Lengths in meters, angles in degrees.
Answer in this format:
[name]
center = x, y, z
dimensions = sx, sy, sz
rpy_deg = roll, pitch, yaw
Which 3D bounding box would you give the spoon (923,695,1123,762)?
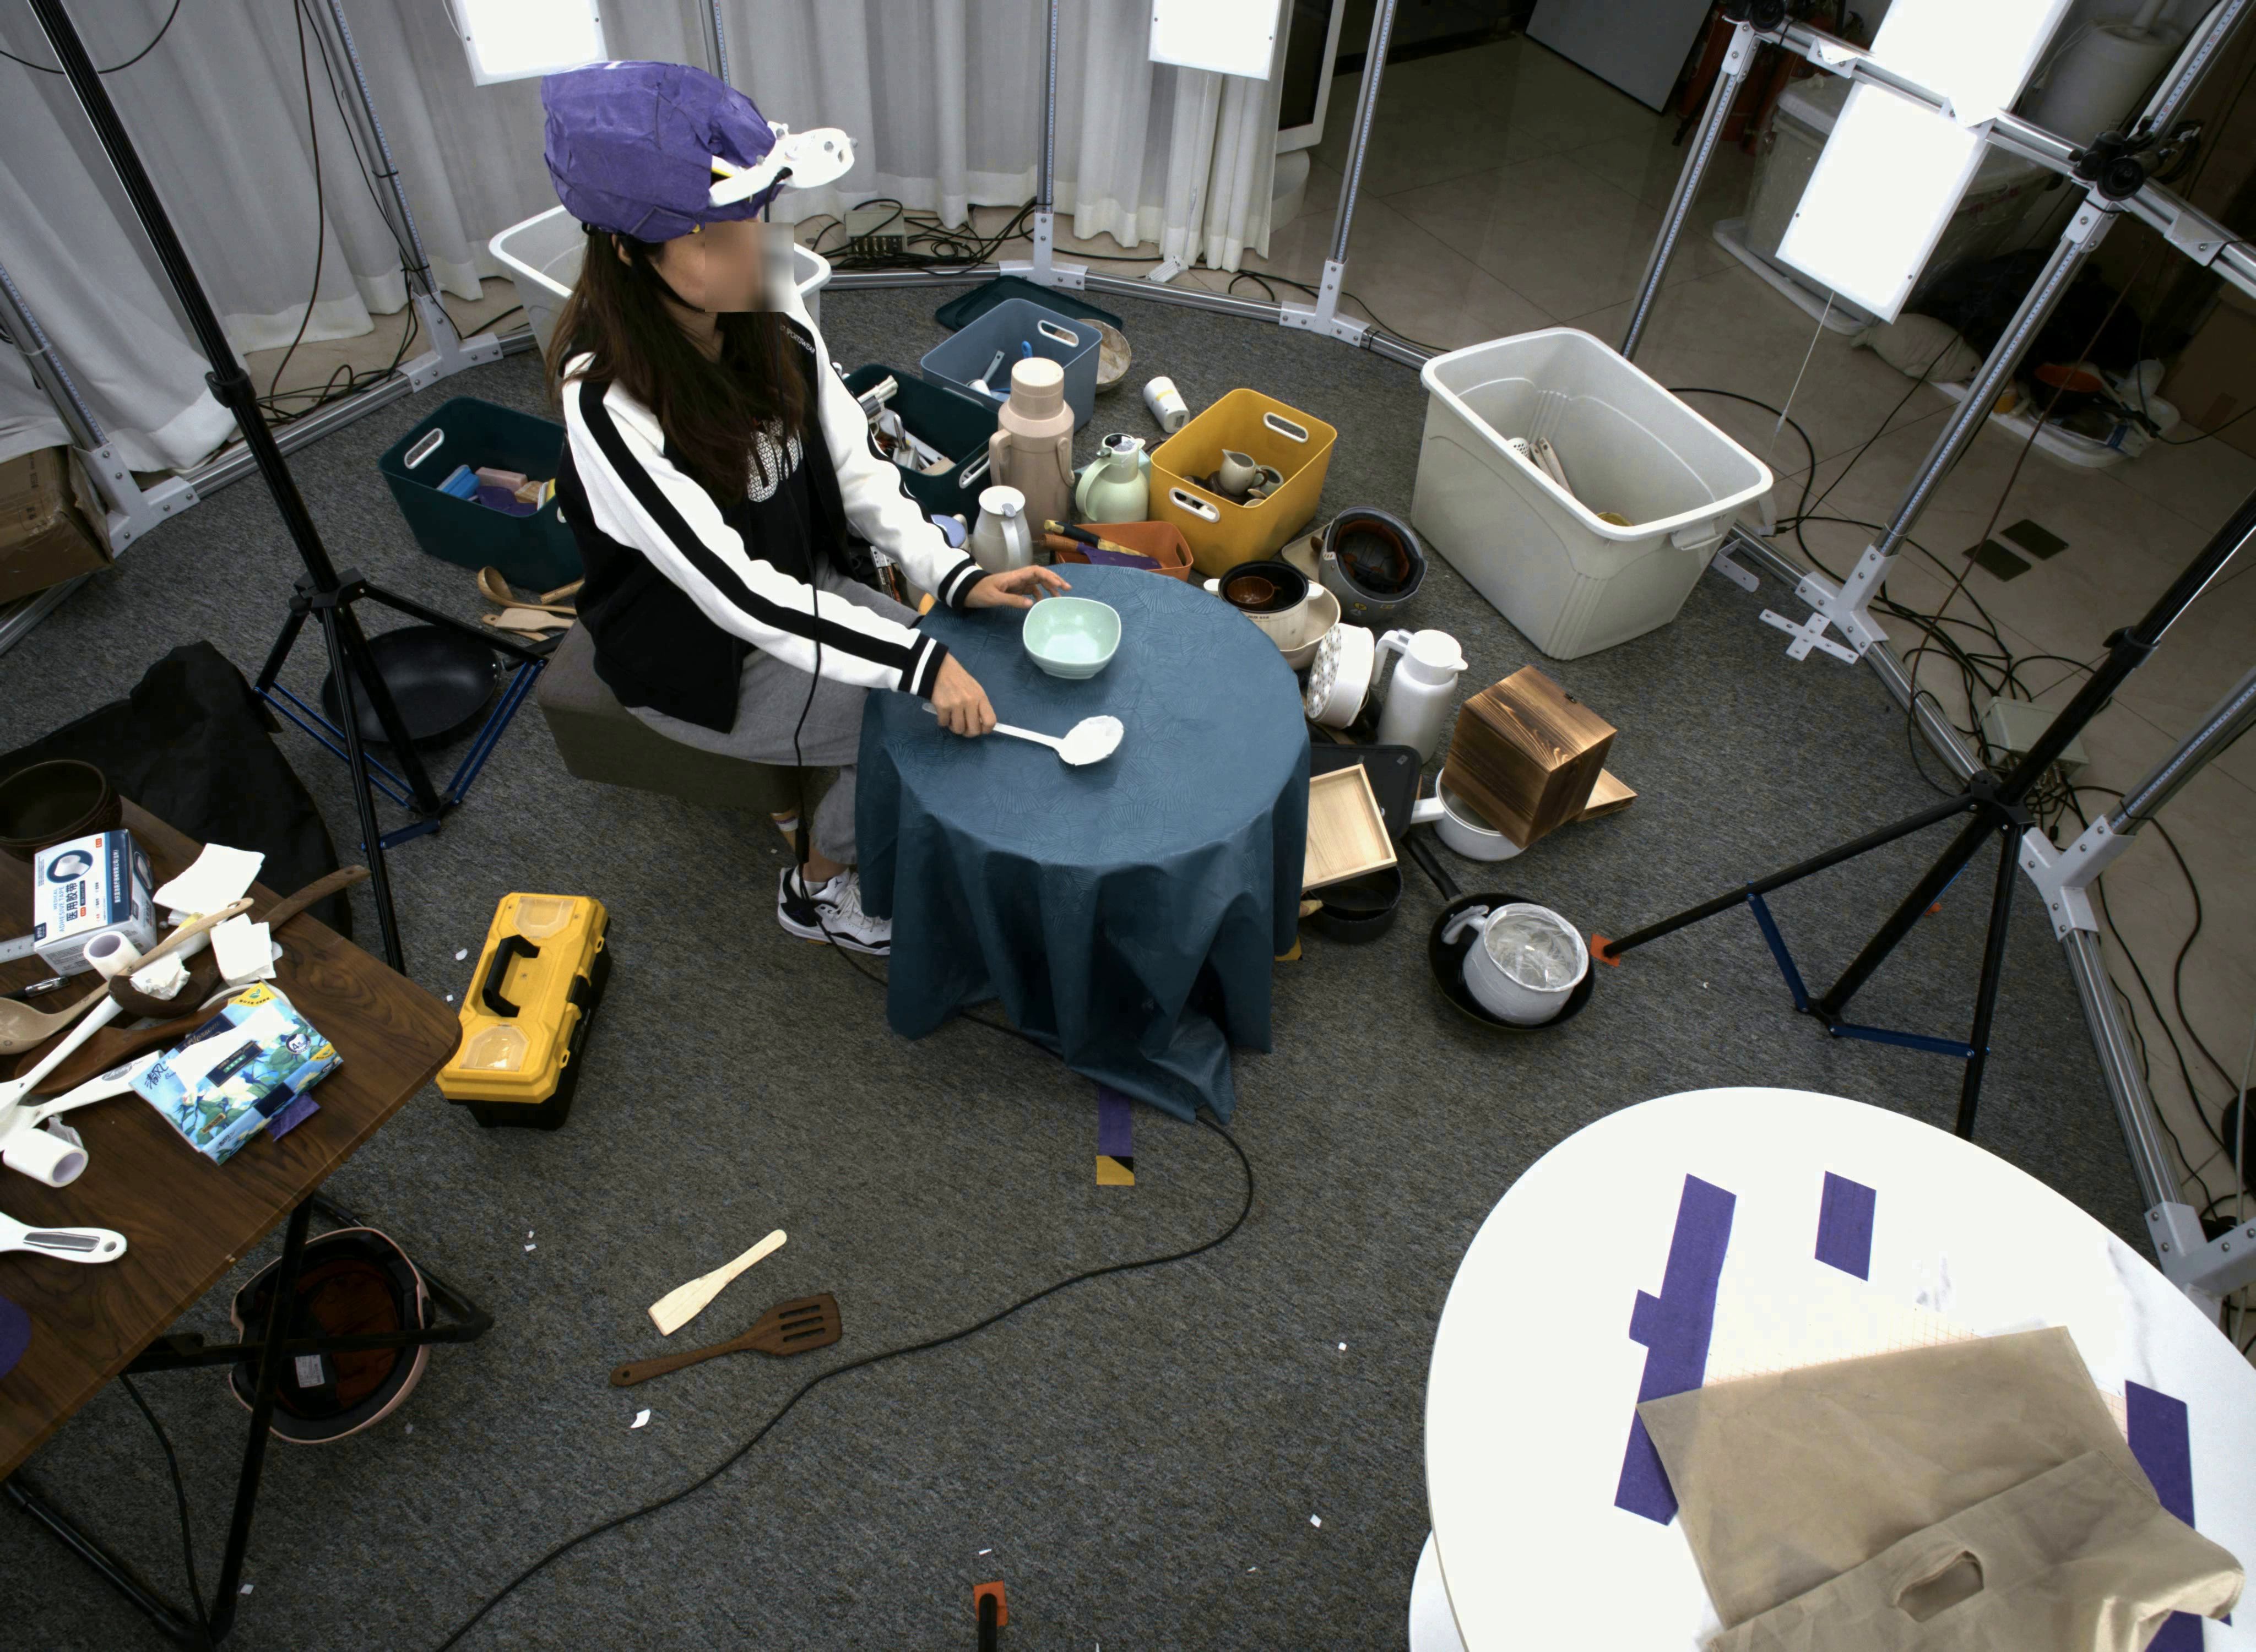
[spoon]
center = -0.143, -0.151, 1.744
dimensions = 0.278, 0.058, 0.103
rpy_deg = 19, 44, 4

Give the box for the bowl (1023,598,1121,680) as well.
[bowl]
center = -0.082, -0.262, 1.857
dimensions = 0.151, 0.057, 0.155
rpy_deg = 2, 49, -3
